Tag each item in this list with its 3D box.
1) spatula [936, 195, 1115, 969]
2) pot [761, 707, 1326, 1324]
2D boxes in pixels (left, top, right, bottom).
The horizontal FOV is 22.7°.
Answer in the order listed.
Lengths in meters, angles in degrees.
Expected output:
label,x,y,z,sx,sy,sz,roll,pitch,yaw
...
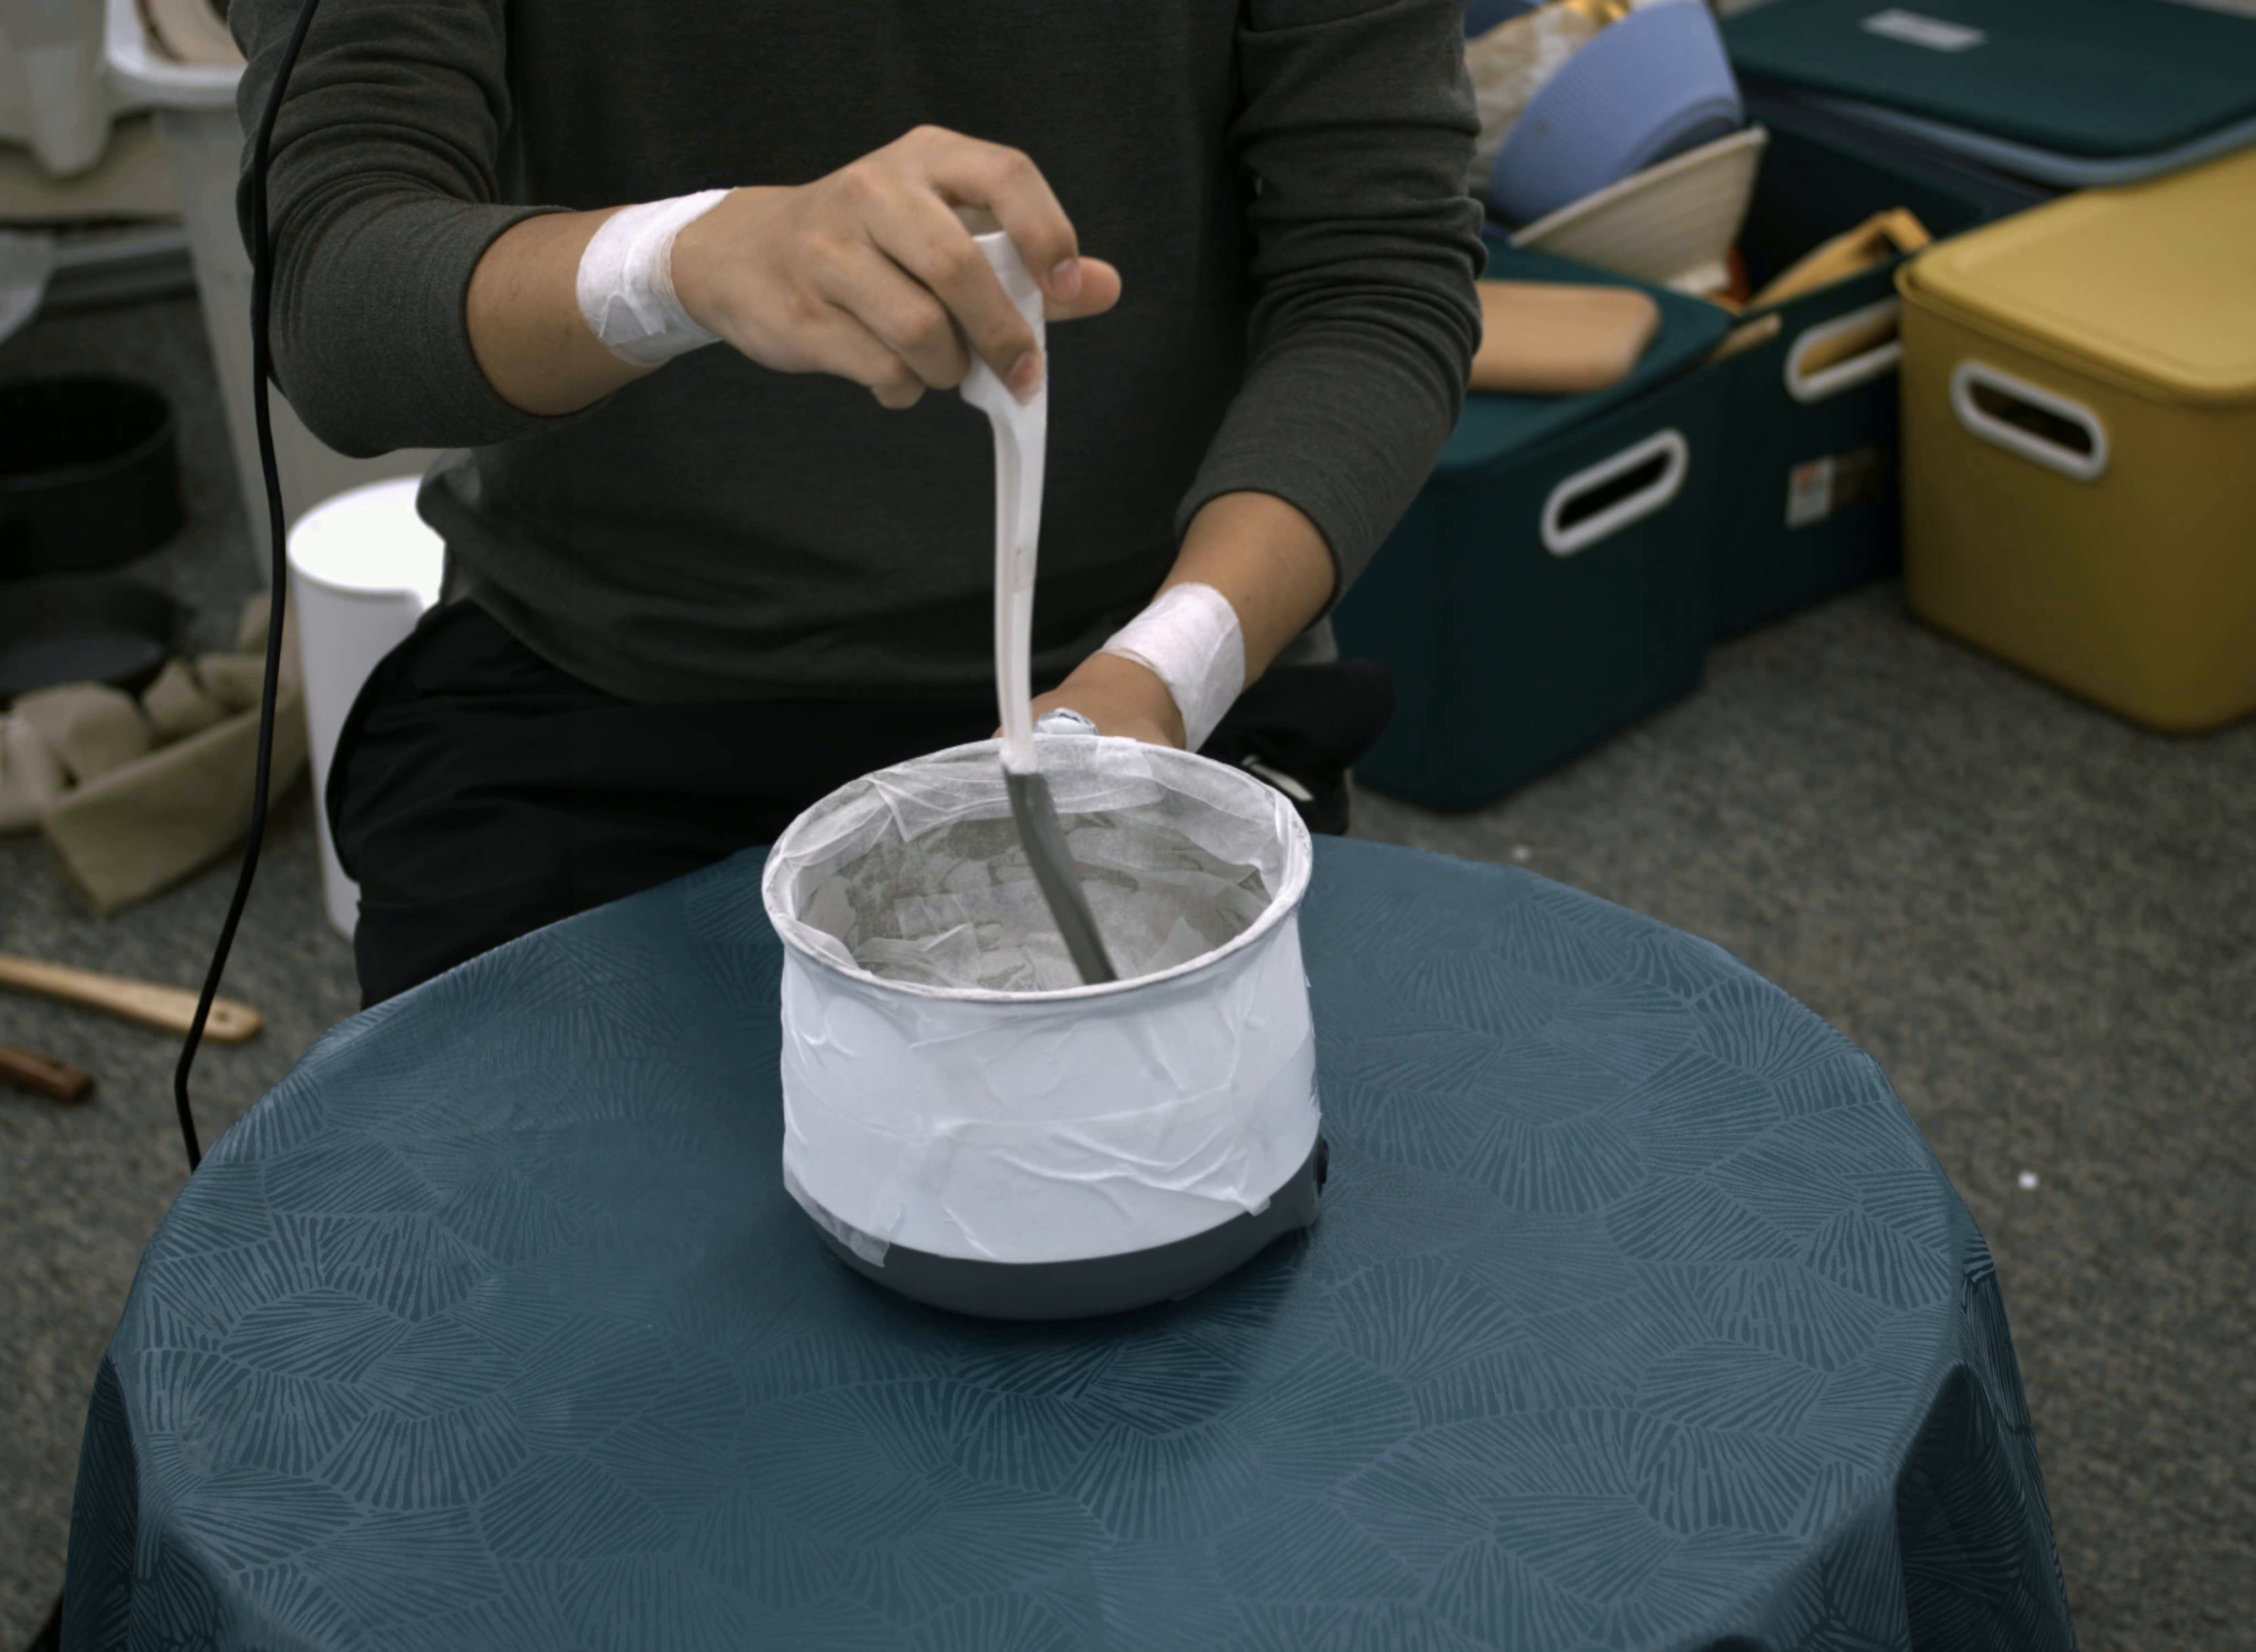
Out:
label,x,y,z,sx,sy,sz,roll,pitch,yaw
spatula,-0.026,-0.057,1.766,0.032,0.285,0.059,-15,24,-15
pot,-0.025,0.055,1.847,0.178,0.135,0.237,-1,27,3
